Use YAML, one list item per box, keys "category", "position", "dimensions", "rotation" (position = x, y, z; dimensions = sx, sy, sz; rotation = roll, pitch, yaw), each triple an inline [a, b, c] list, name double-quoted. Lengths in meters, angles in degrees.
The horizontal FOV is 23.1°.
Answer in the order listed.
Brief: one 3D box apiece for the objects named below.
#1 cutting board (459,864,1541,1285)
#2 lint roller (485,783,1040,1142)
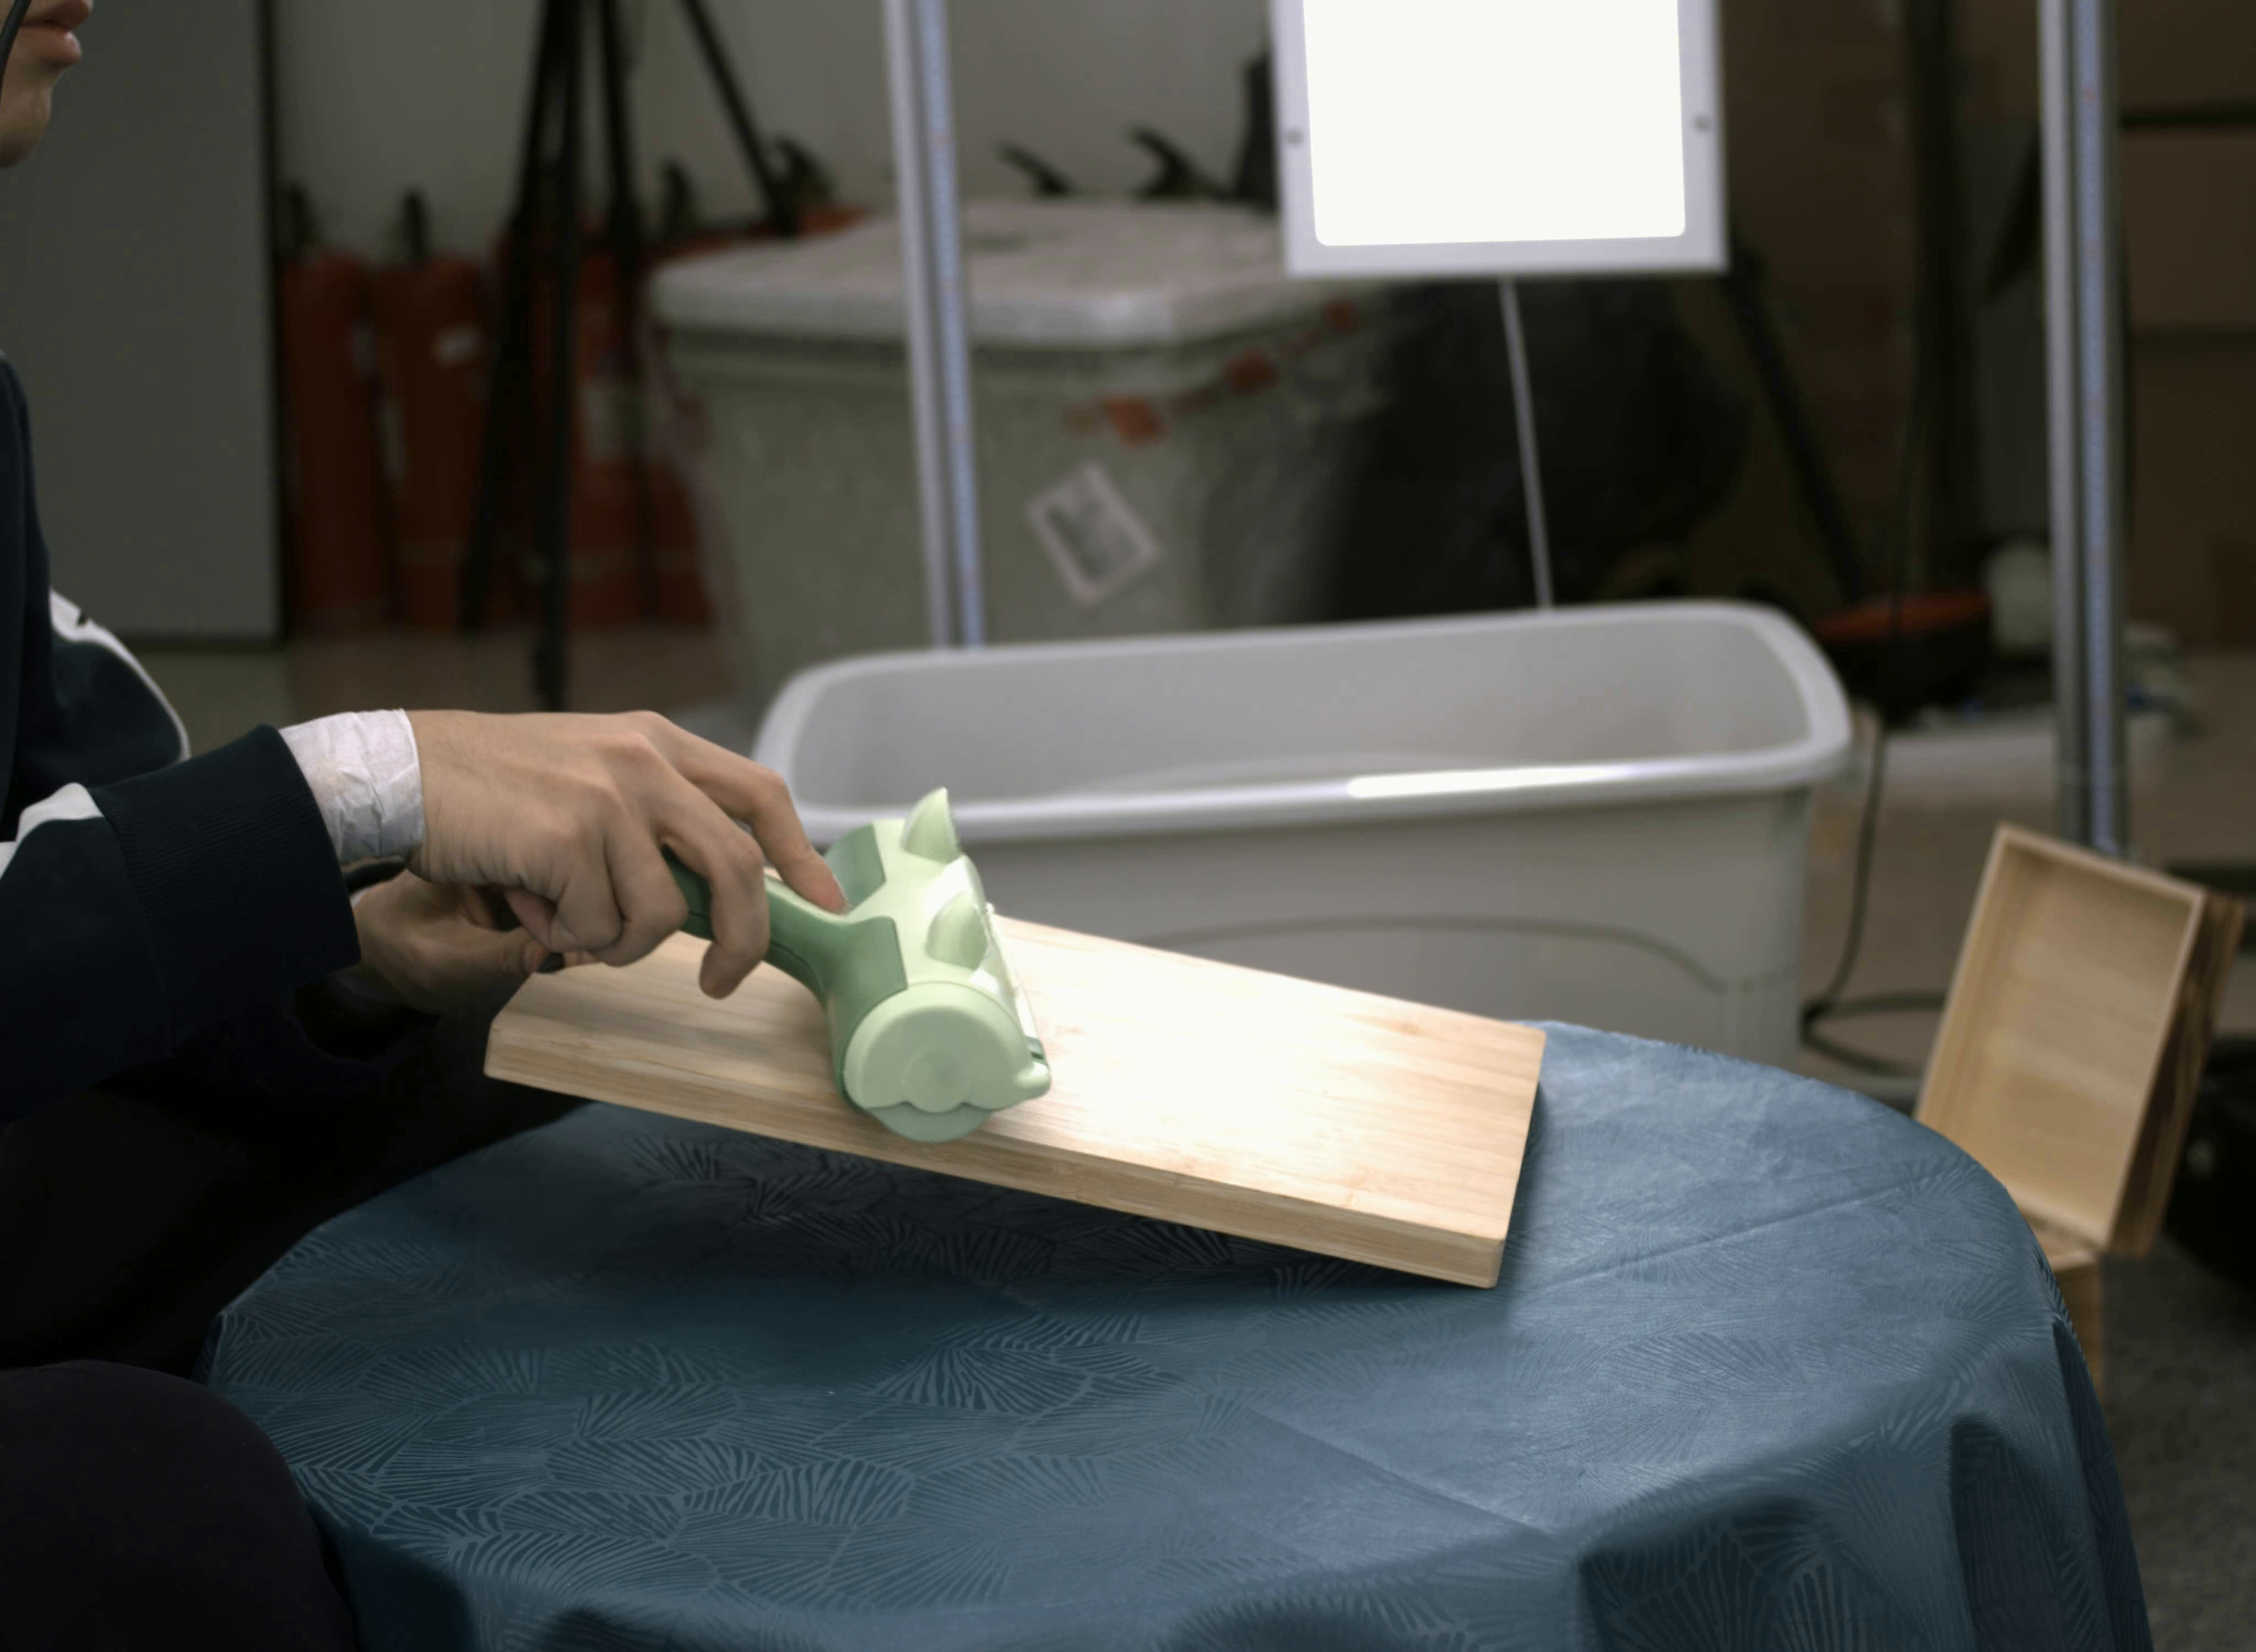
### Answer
- category: "cutting board"
  position: [-0.035, 0.078, 1.896]
  dimensions: [0.349, 0.024, 0.248]
  rotation: [11, 15, 6]
- category: "lint roller"
  position: [-0.115, 0.017, 1.814]
  dimensions: [0.181, 0.083, 0.199]
  rotation: [29, 12, -12]
